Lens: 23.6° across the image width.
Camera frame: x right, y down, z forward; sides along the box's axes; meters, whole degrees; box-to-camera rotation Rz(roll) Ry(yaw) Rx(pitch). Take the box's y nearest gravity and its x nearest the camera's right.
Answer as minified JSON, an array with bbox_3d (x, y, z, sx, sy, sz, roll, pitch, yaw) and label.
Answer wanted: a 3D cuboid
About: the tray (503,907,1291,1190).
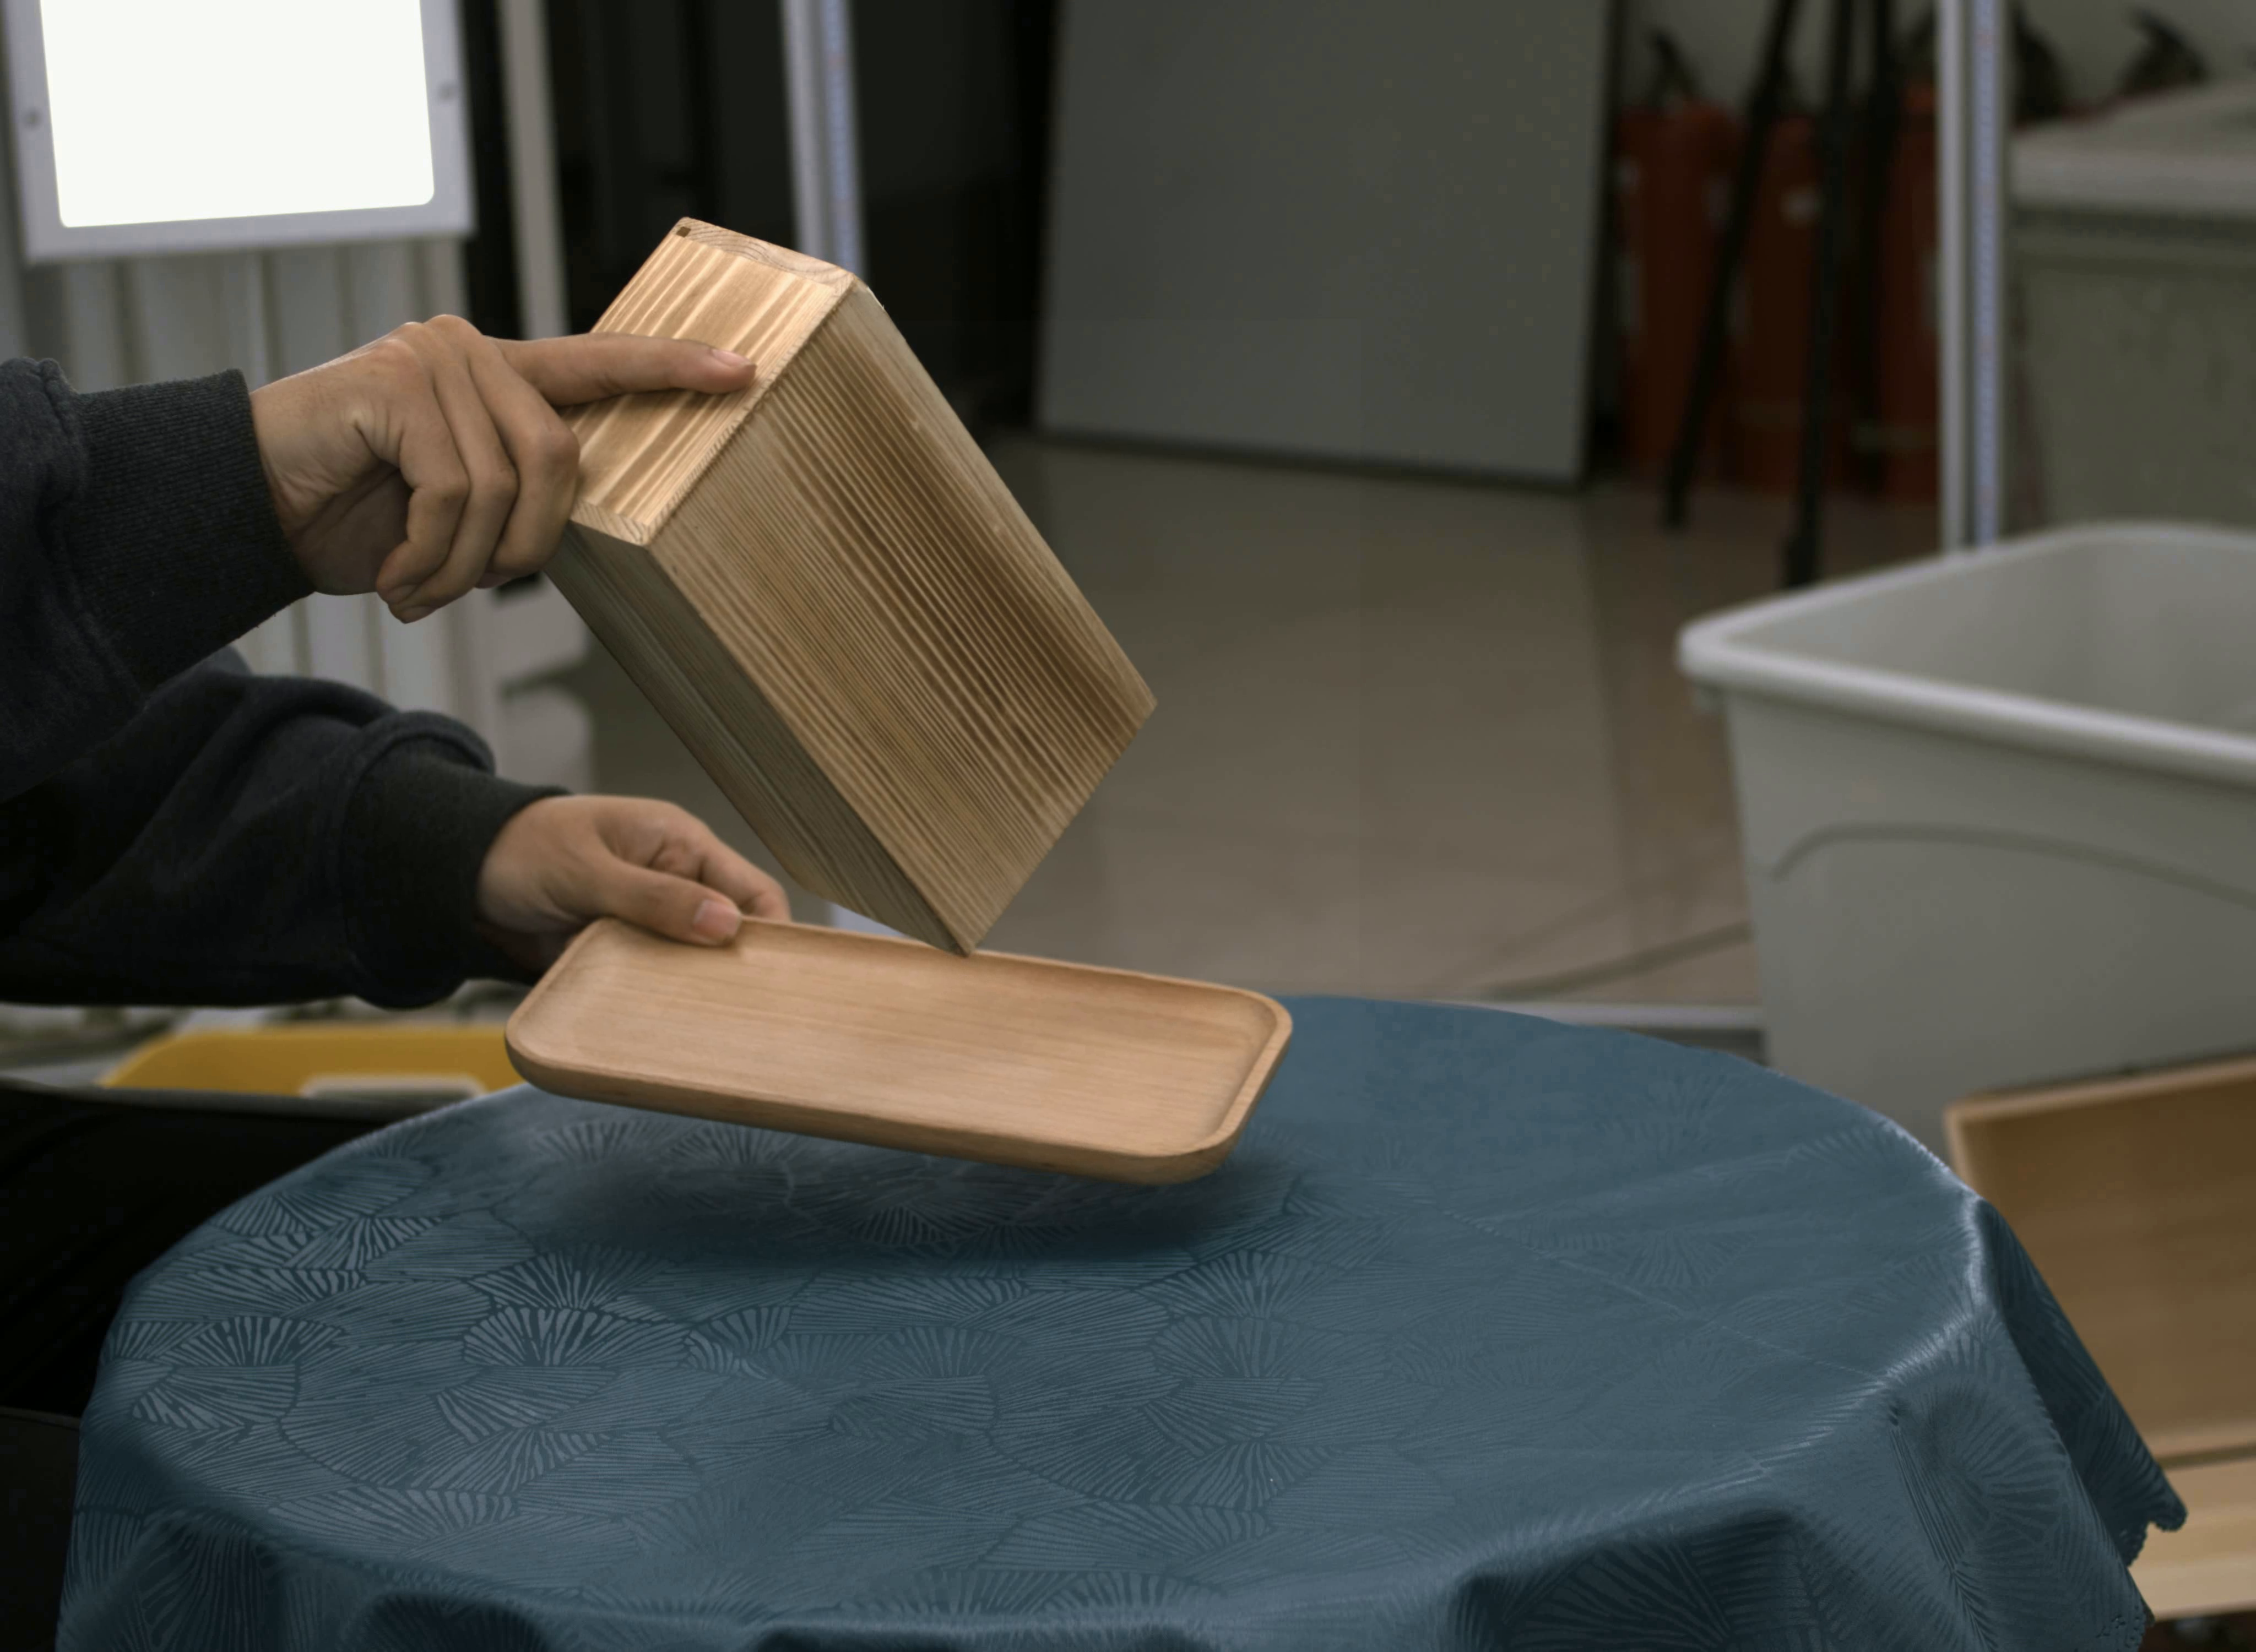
[{"bbox_3d":[-0.075,0.072,1.777,0.250,0.023,0.129,7,22,16],"label":"tray"}]

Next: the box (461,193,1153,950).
[{"bbox_3d":[-0.092,-0.074,1.622,0.081,0.209,0.107,22,67,42],"label":"box"}]
